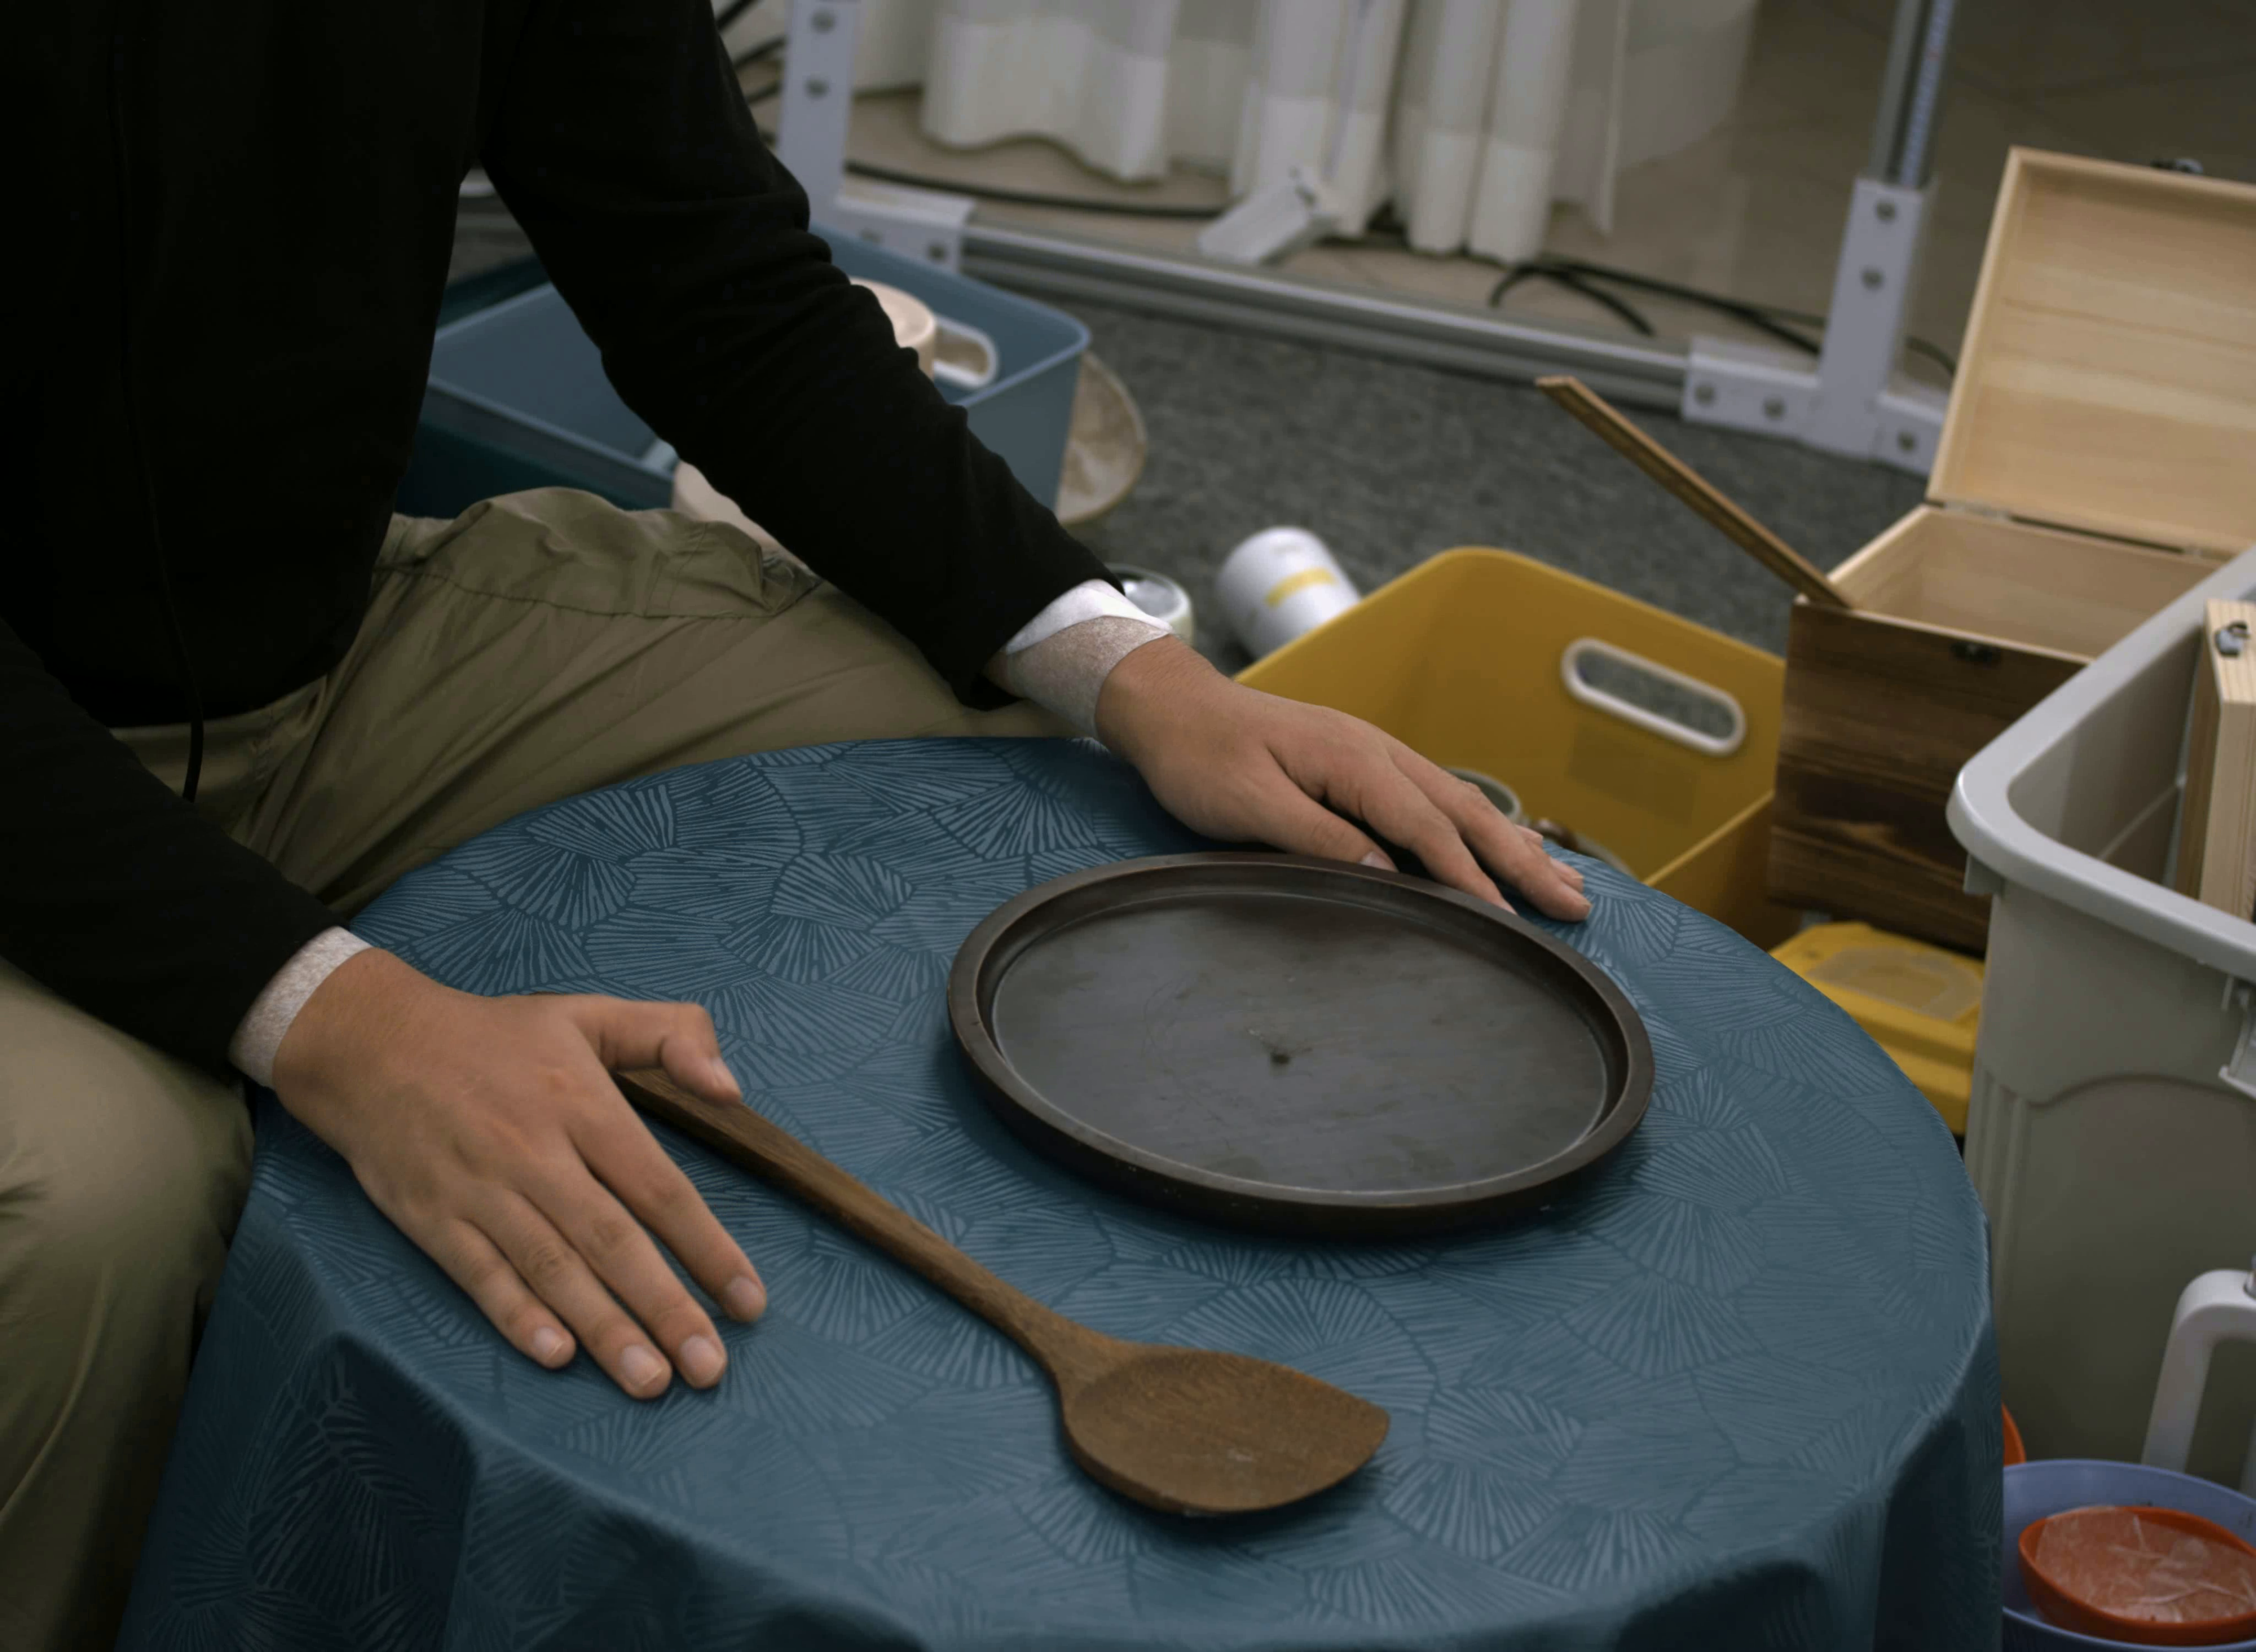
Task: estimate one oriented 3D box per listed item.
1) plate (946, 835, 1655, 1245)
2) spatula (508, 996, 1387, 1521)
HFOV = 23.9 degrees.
[{"bbox_3d":[0.060,0.077,1.881,0.254,0.029,0.256,4,28,-2],"label":"plate"},{"bbox_3d":[-0.077,0.134,1.749,0.389,0.016,0.095,29,34,37],"label":"spatula"}]
